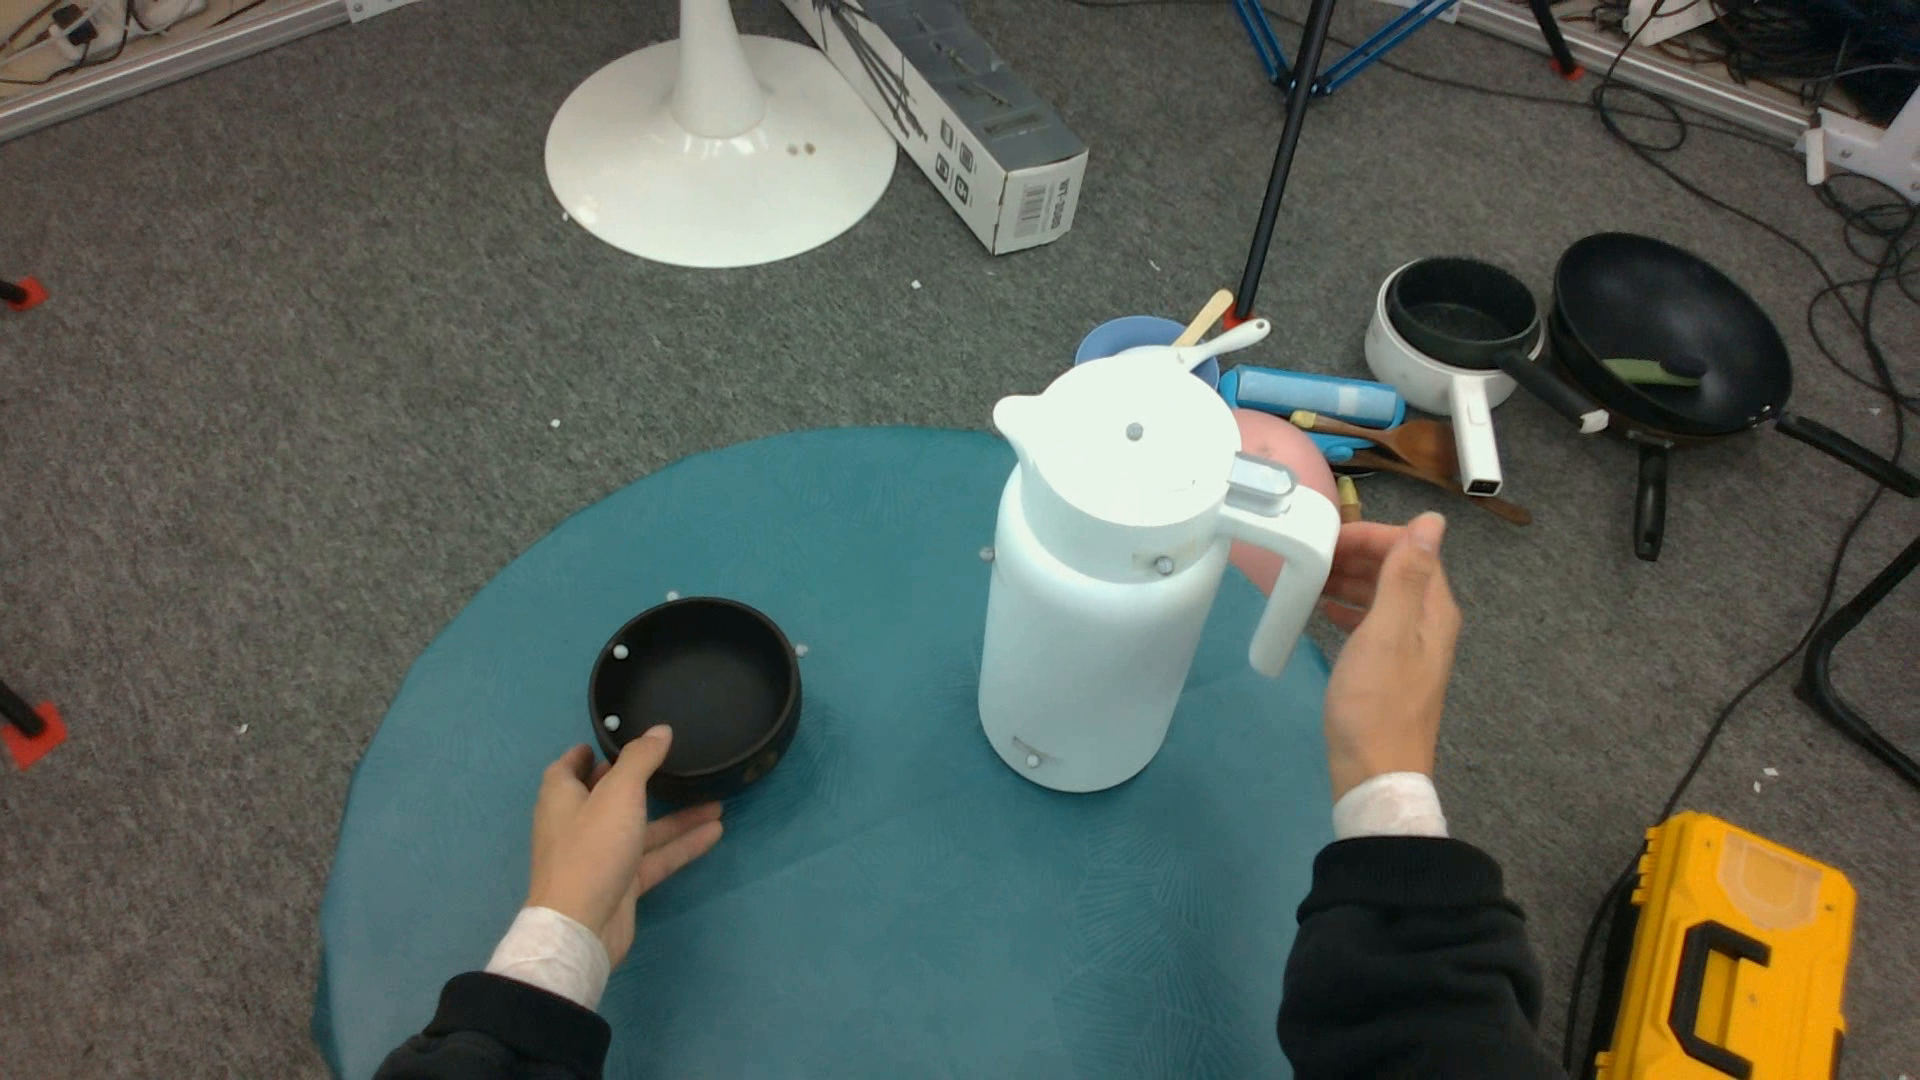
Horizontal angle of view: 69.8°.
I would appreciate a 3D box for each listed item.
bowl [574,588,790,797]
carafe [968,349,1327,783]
[{"bbox_3d":[-0.156,0.093,0.788,0.118,0.069,0.118,2,55,-3],"label":"bowl"},{"bbox_3d":[0.086,0.027,0.734,0.173,0.267,0.124,17,54,8],"label":"carafe"}]
